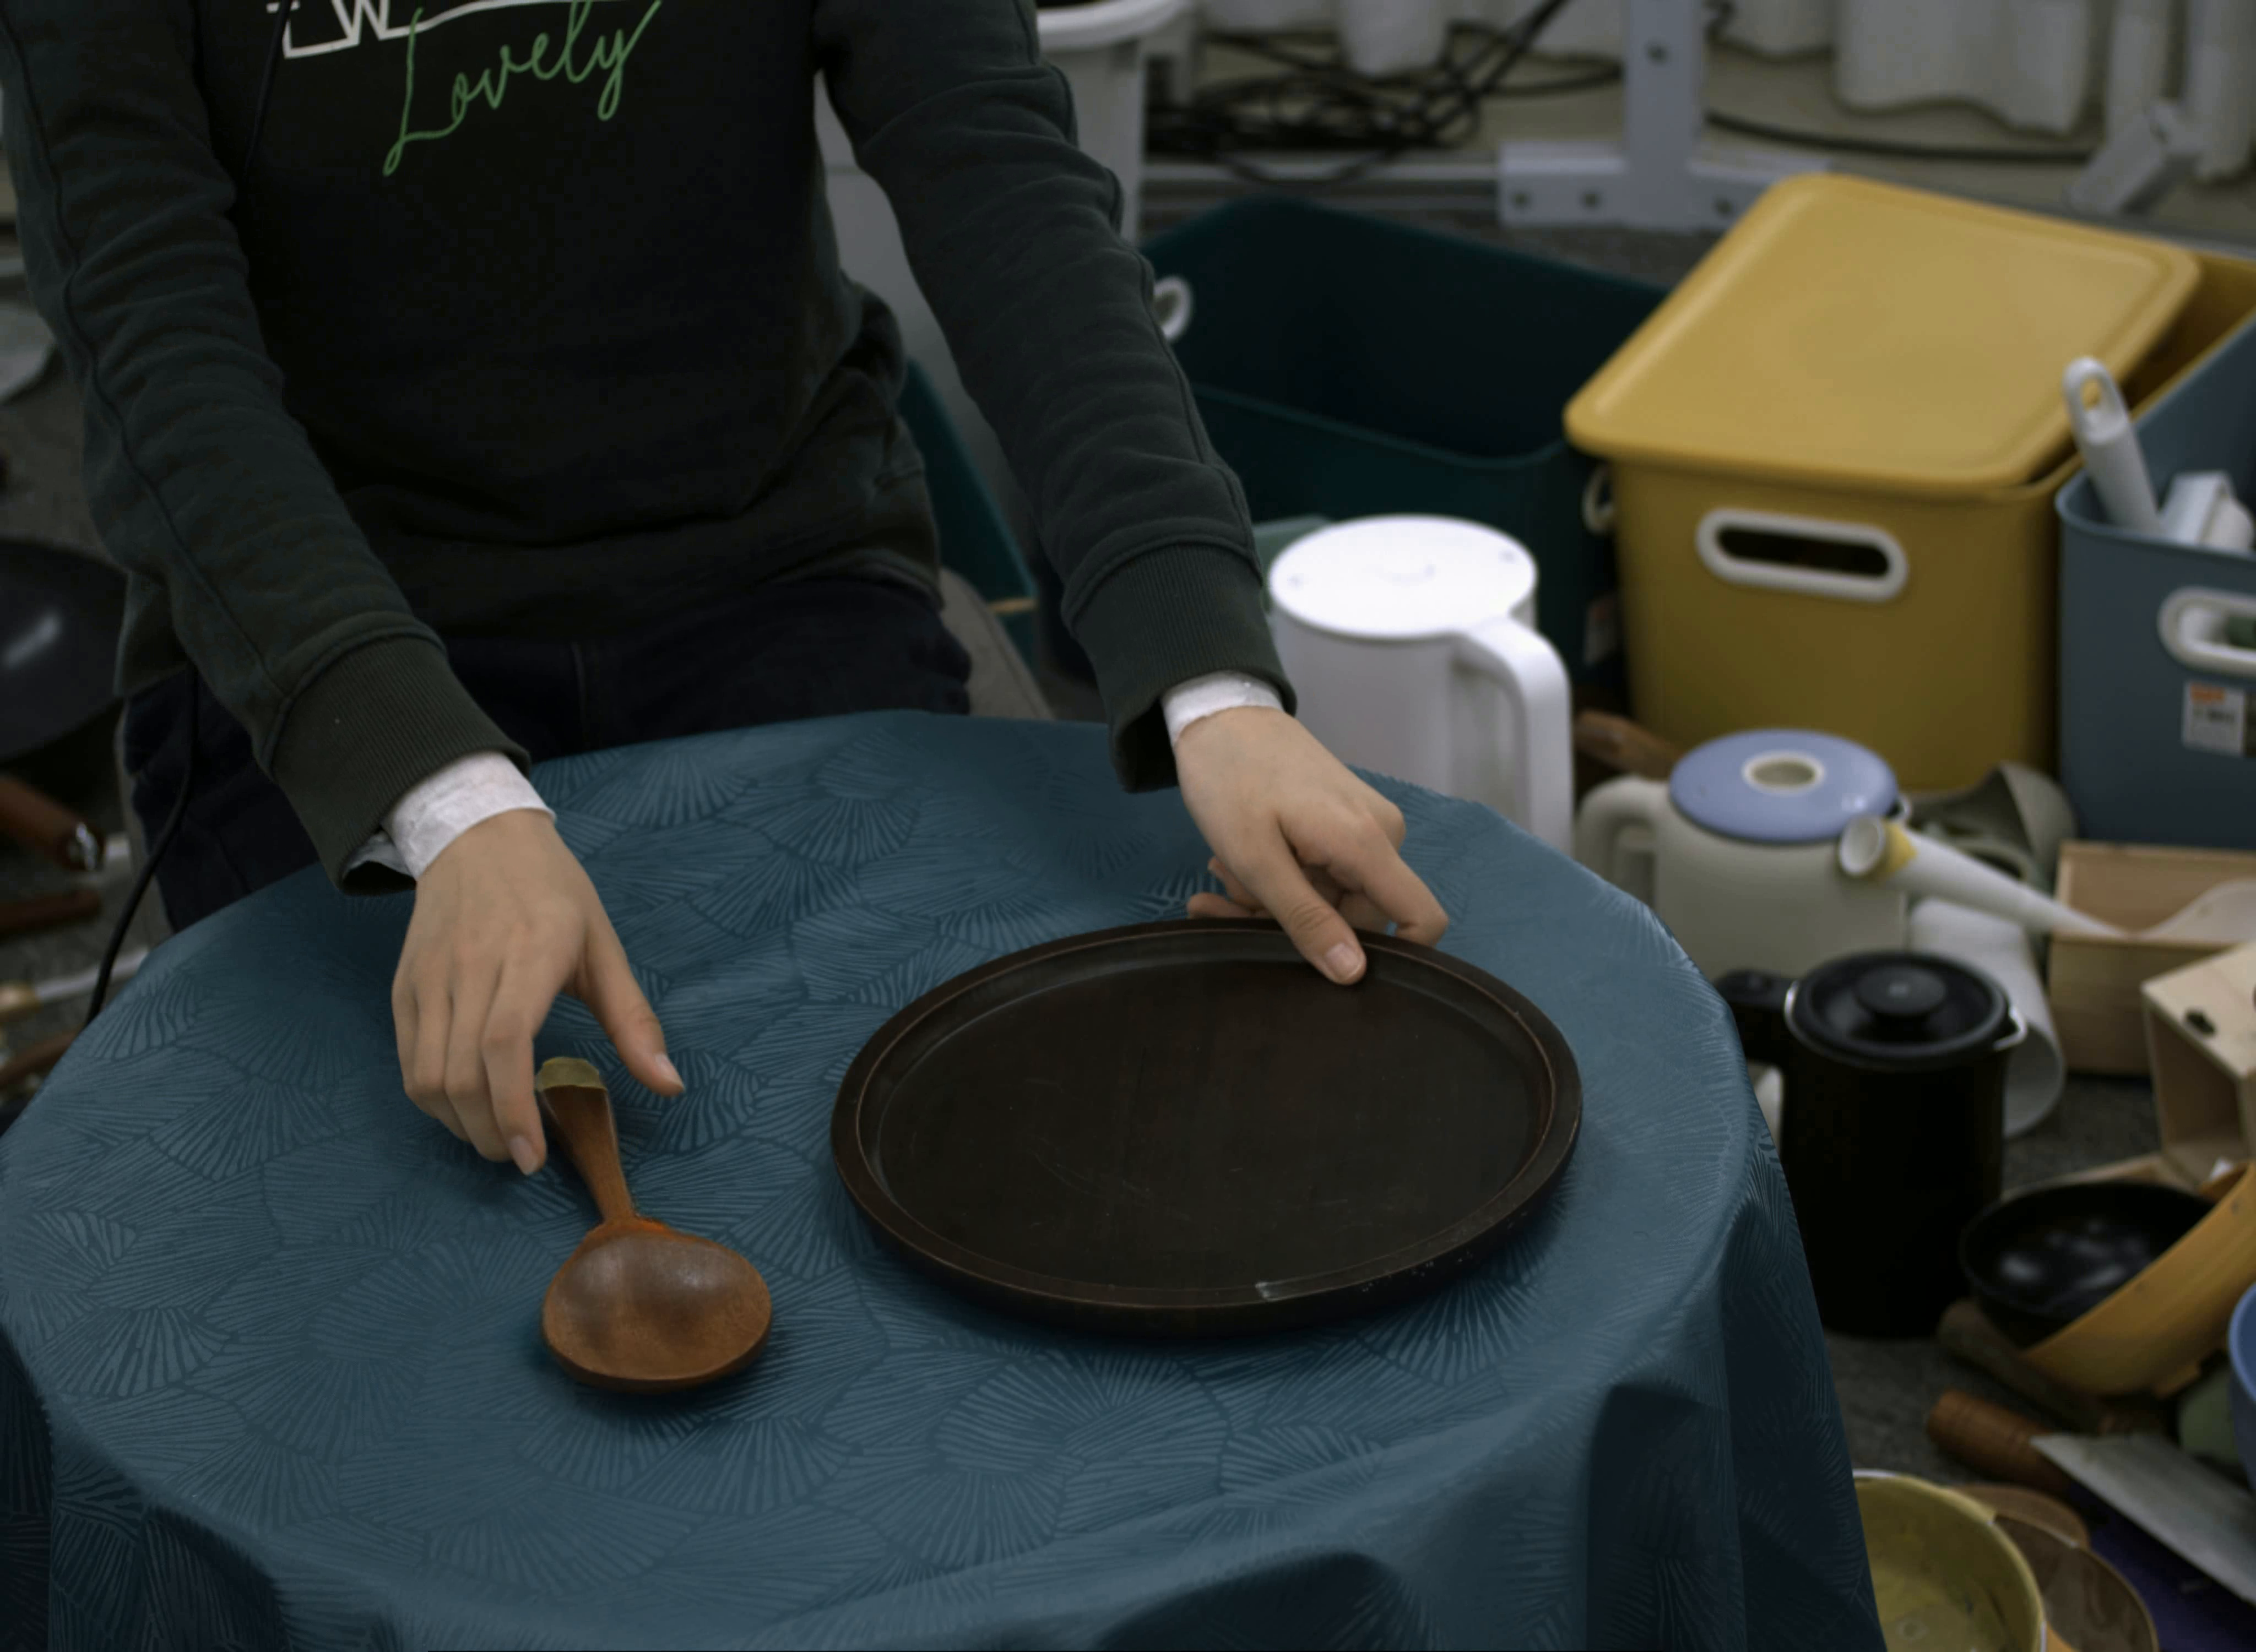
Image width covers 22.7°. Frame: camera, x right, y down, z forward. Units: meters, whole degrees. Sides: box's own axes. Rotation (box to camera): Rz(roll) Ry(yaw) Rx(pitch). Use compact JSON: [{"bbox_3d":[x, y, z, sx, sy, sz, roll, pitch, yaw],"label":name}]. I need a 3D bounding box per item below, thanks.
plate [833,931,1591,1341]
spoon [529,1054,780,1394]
[{"bbox_3d":[0.028,0.101,1.875,0.253,0.029,0.259,-1,28,1],"label":"plate"},{"bbox_3d":[-0.166,0.131,1.841,0.075,0.017,0.218,-10,28,-13],"label":"spoon"}]
